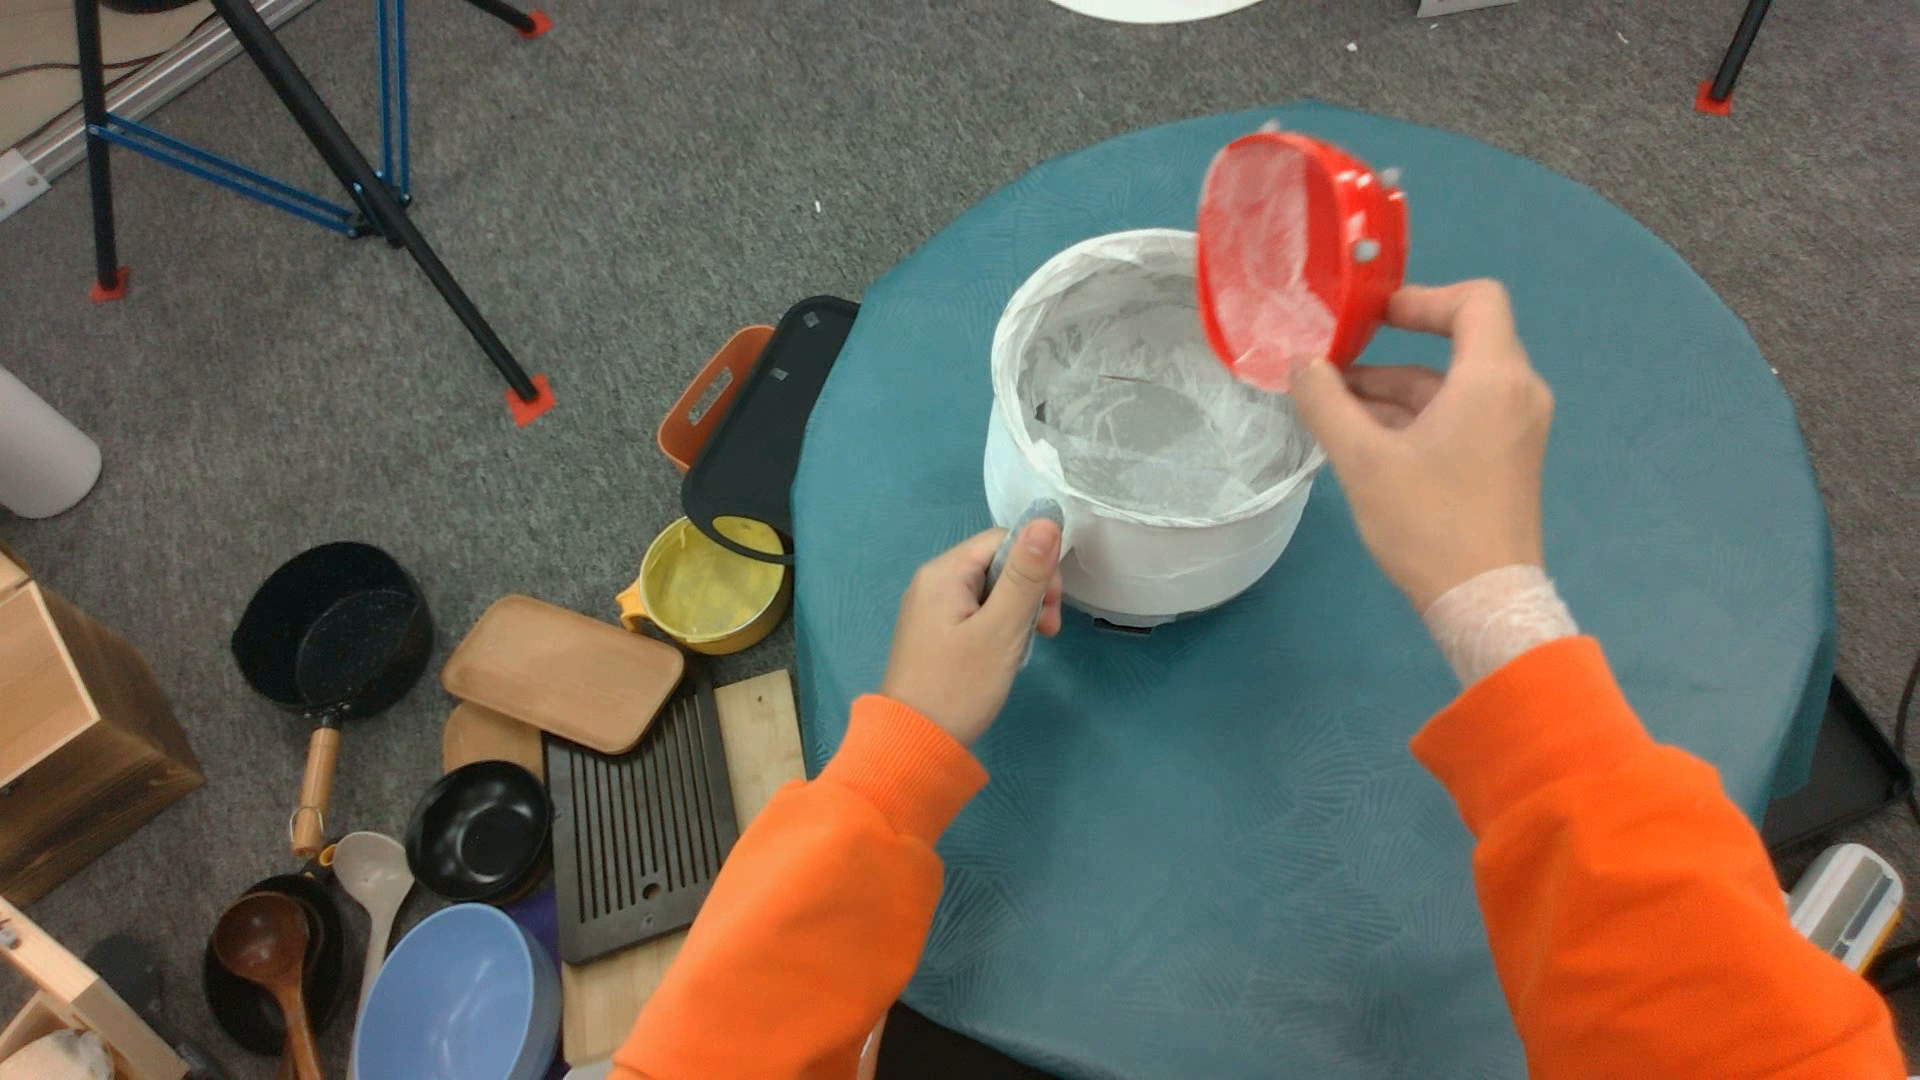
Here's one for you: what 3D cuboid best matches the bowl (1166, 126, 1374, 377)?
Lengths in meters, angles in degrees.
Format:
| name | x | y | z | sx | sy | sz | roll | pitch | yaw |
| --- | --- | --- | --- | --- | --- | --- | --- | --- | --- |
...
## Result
| name | x | y | z | sx | sy | sz | roll | pitch | yaw |
| --- | --- | --- | --- | --- | --- | --- | --- | --- | --- |
| bowl | 0.144 | -0.133 | 0.621 | 0.051 | 0.118 | 0.119 | -15 | 58 | -23 |

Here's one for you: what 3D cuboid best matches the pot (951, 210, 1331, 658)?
| name | x | y | z | sx | sy | sz | roll | pitch | yaw |
| --- | --- | --- | --- | --- | --- | --- | --- | --- | --- |
| pot | 0.077 | -0.045 | 0.722 | 0.179 | 0.136 | 0.234 | 32 | 66 | 15 |
